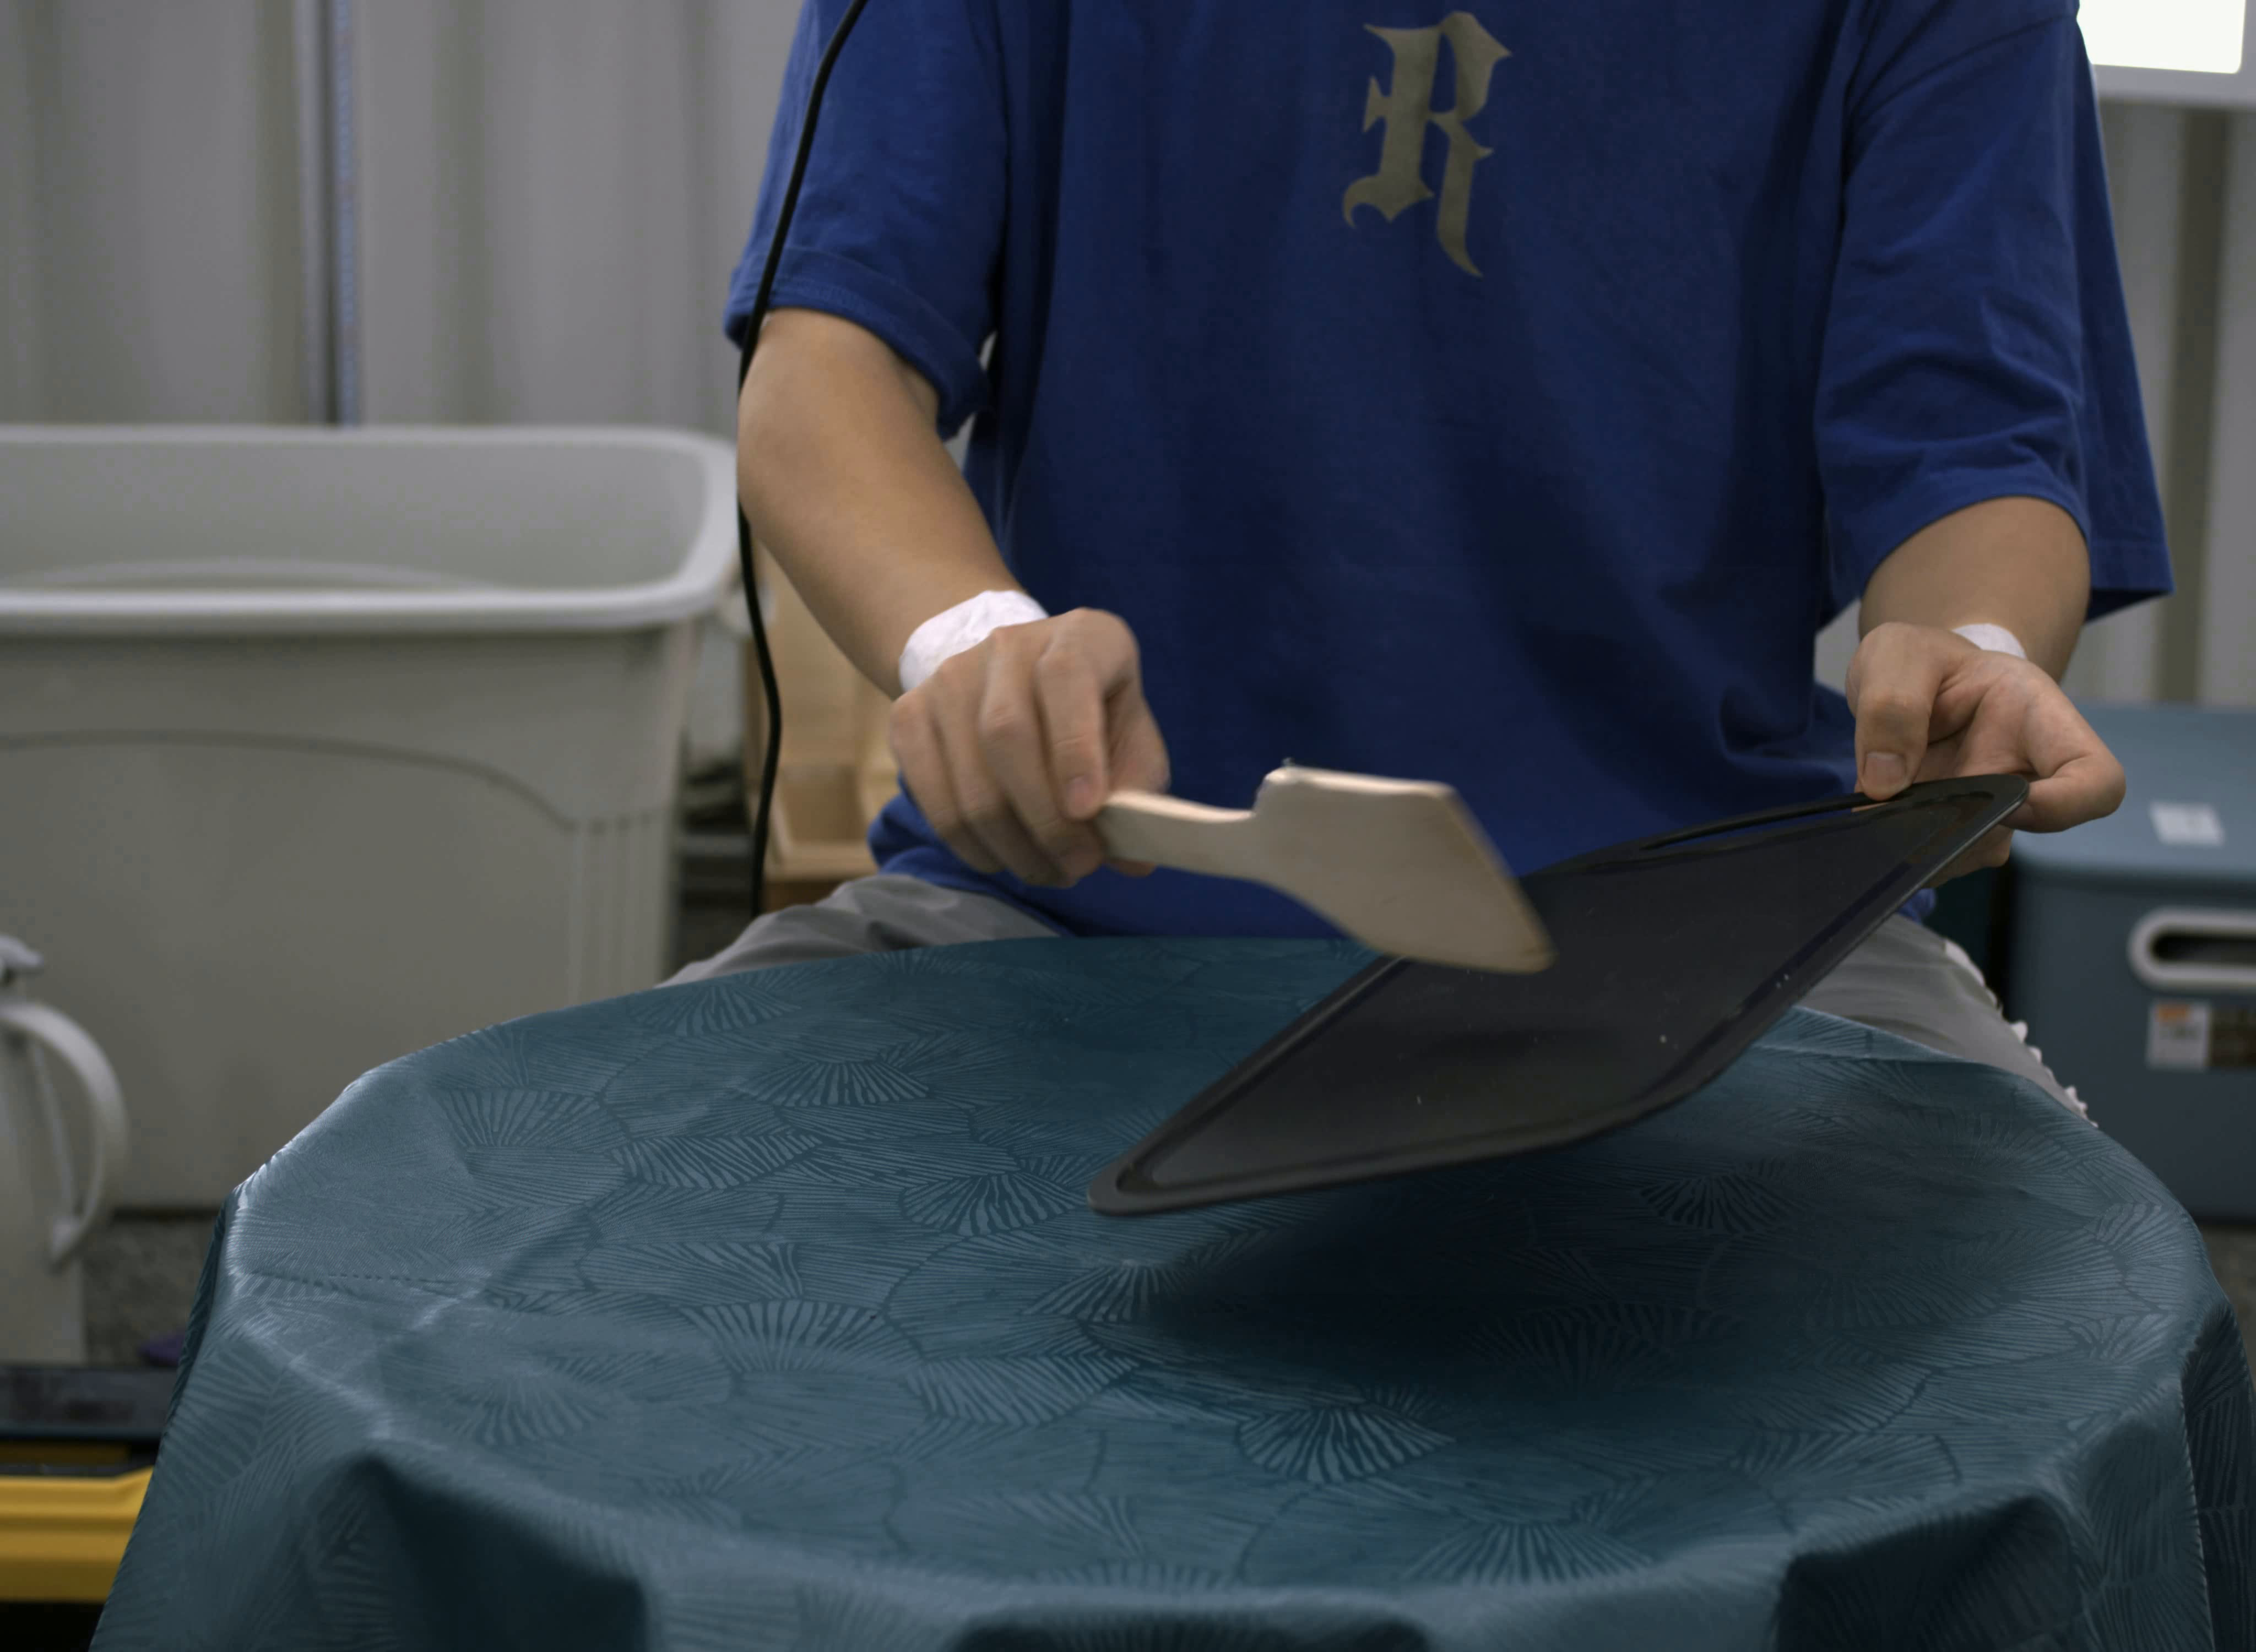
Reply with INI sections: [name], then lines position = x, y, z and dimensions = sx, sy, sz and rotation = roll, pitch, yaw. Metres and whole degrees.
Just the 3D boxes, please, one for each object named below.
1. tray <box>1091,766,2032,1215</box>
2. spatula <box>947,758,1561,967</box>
[tray]
position = 0.136, 0.043, 1.569
dimensions = 0.209, 0.010, 0.326
rotation = -12, 13, 36
[spatula]
position = 0.026, 0.001, 1.622
dimensions = 0.010, 0.073, 0.289
rotation = -45, 28, -22
